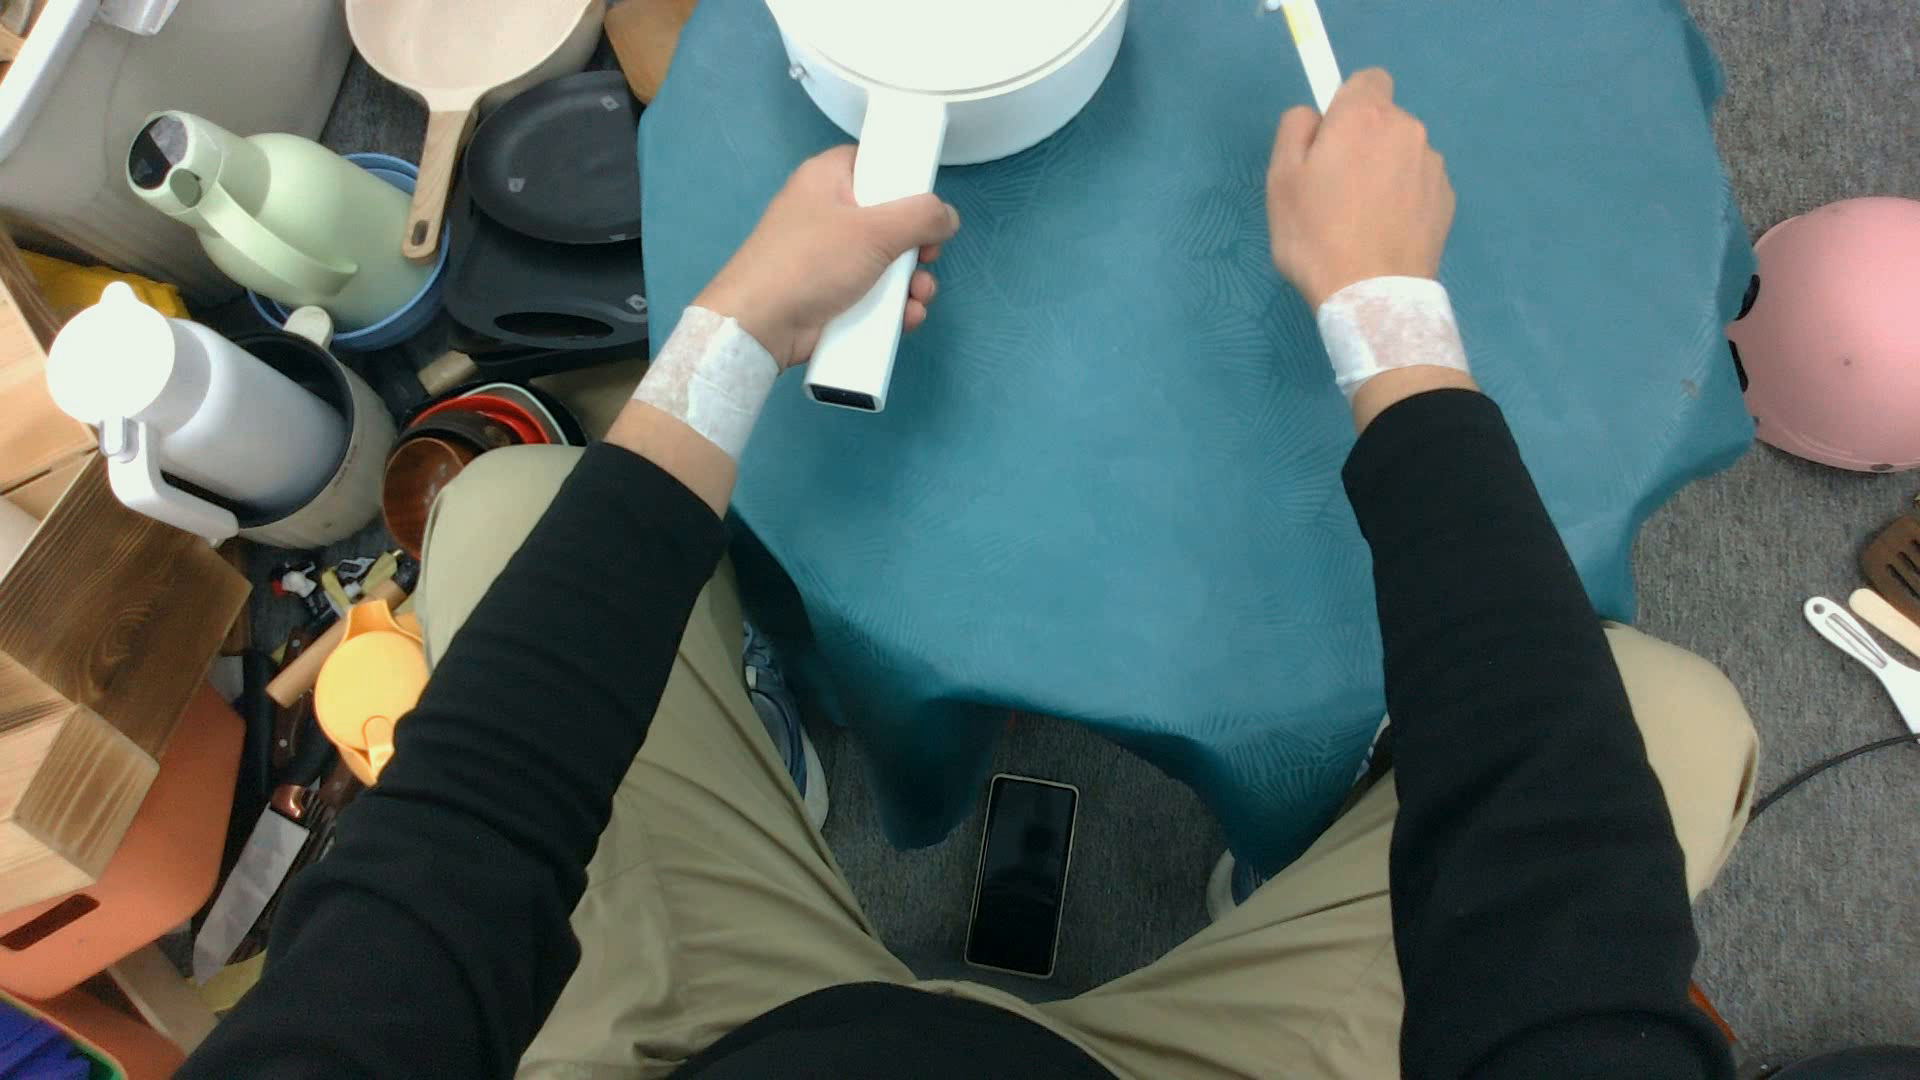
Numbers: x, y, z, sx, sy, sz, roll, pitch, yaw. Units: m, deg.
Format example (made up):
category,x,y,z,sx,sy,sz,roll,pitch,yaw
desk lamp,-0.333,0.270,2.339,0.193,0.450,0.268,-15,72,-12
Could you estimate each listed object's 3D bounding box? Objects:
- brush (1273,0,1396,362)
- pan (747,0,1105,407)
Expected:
category,x,y,z,sx,sy,sz,roll,pitch,yaw
brush,0.165,-0.214,0.681,0.056,0.069,0.266,-7,105,29
pan,-0.032,-0.234,0.735,0.201,0.102,0.355,10,79,3
